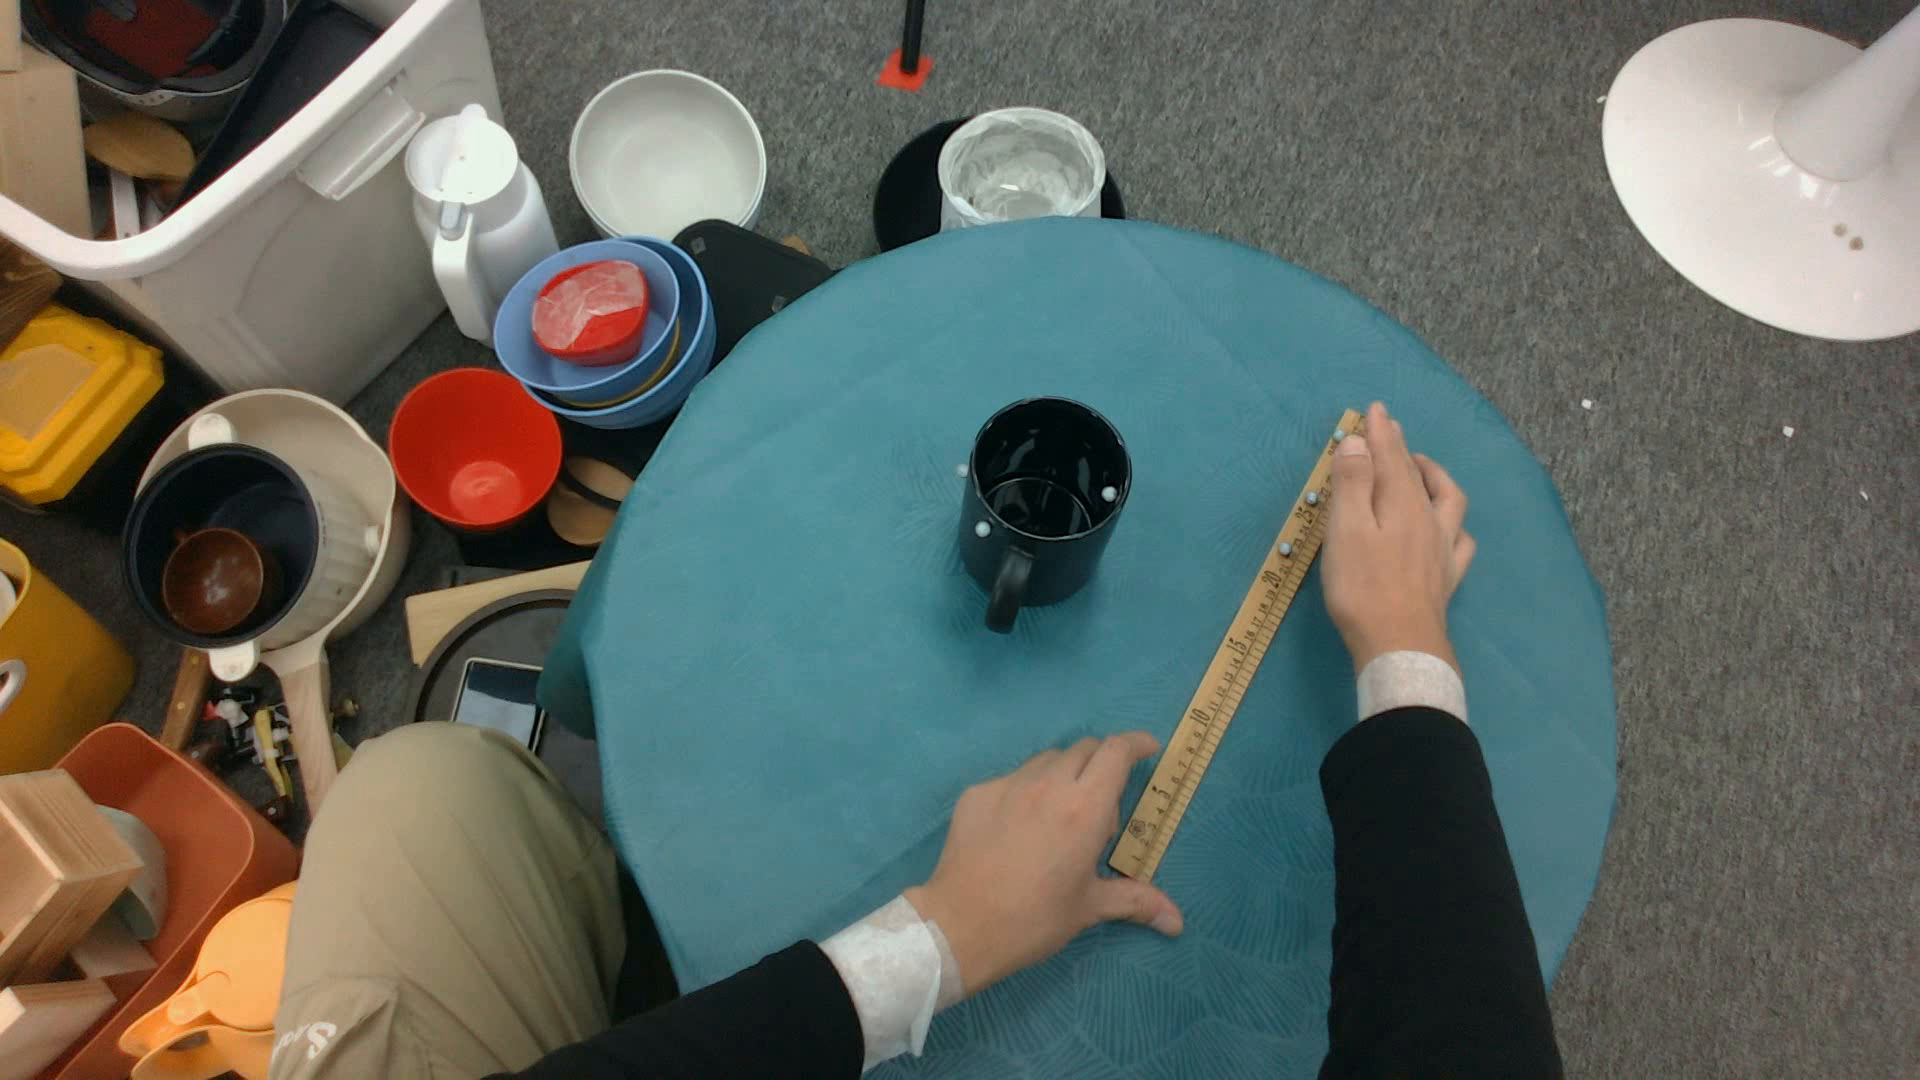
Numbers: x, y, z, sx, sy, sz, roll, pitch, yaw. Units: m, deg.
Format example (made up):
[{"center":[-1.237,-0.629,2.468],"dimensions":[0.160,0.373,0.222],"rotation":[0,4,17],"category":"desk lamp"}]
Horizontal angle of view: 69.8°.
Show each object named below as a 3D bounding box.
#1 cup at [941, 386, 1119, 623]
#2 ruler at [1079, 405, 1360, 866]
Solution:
[{"center":[0.031,-0.011,0.775],"dimensions":[0.088,0.105,0.124],"rotation":[21,67,2],"category":"cup"},{"center":[0.161,0.044,0.812],"dimensions":[0.027,0.022,0.333],"rotation":[32,66,5],"category":"ruler"}]
